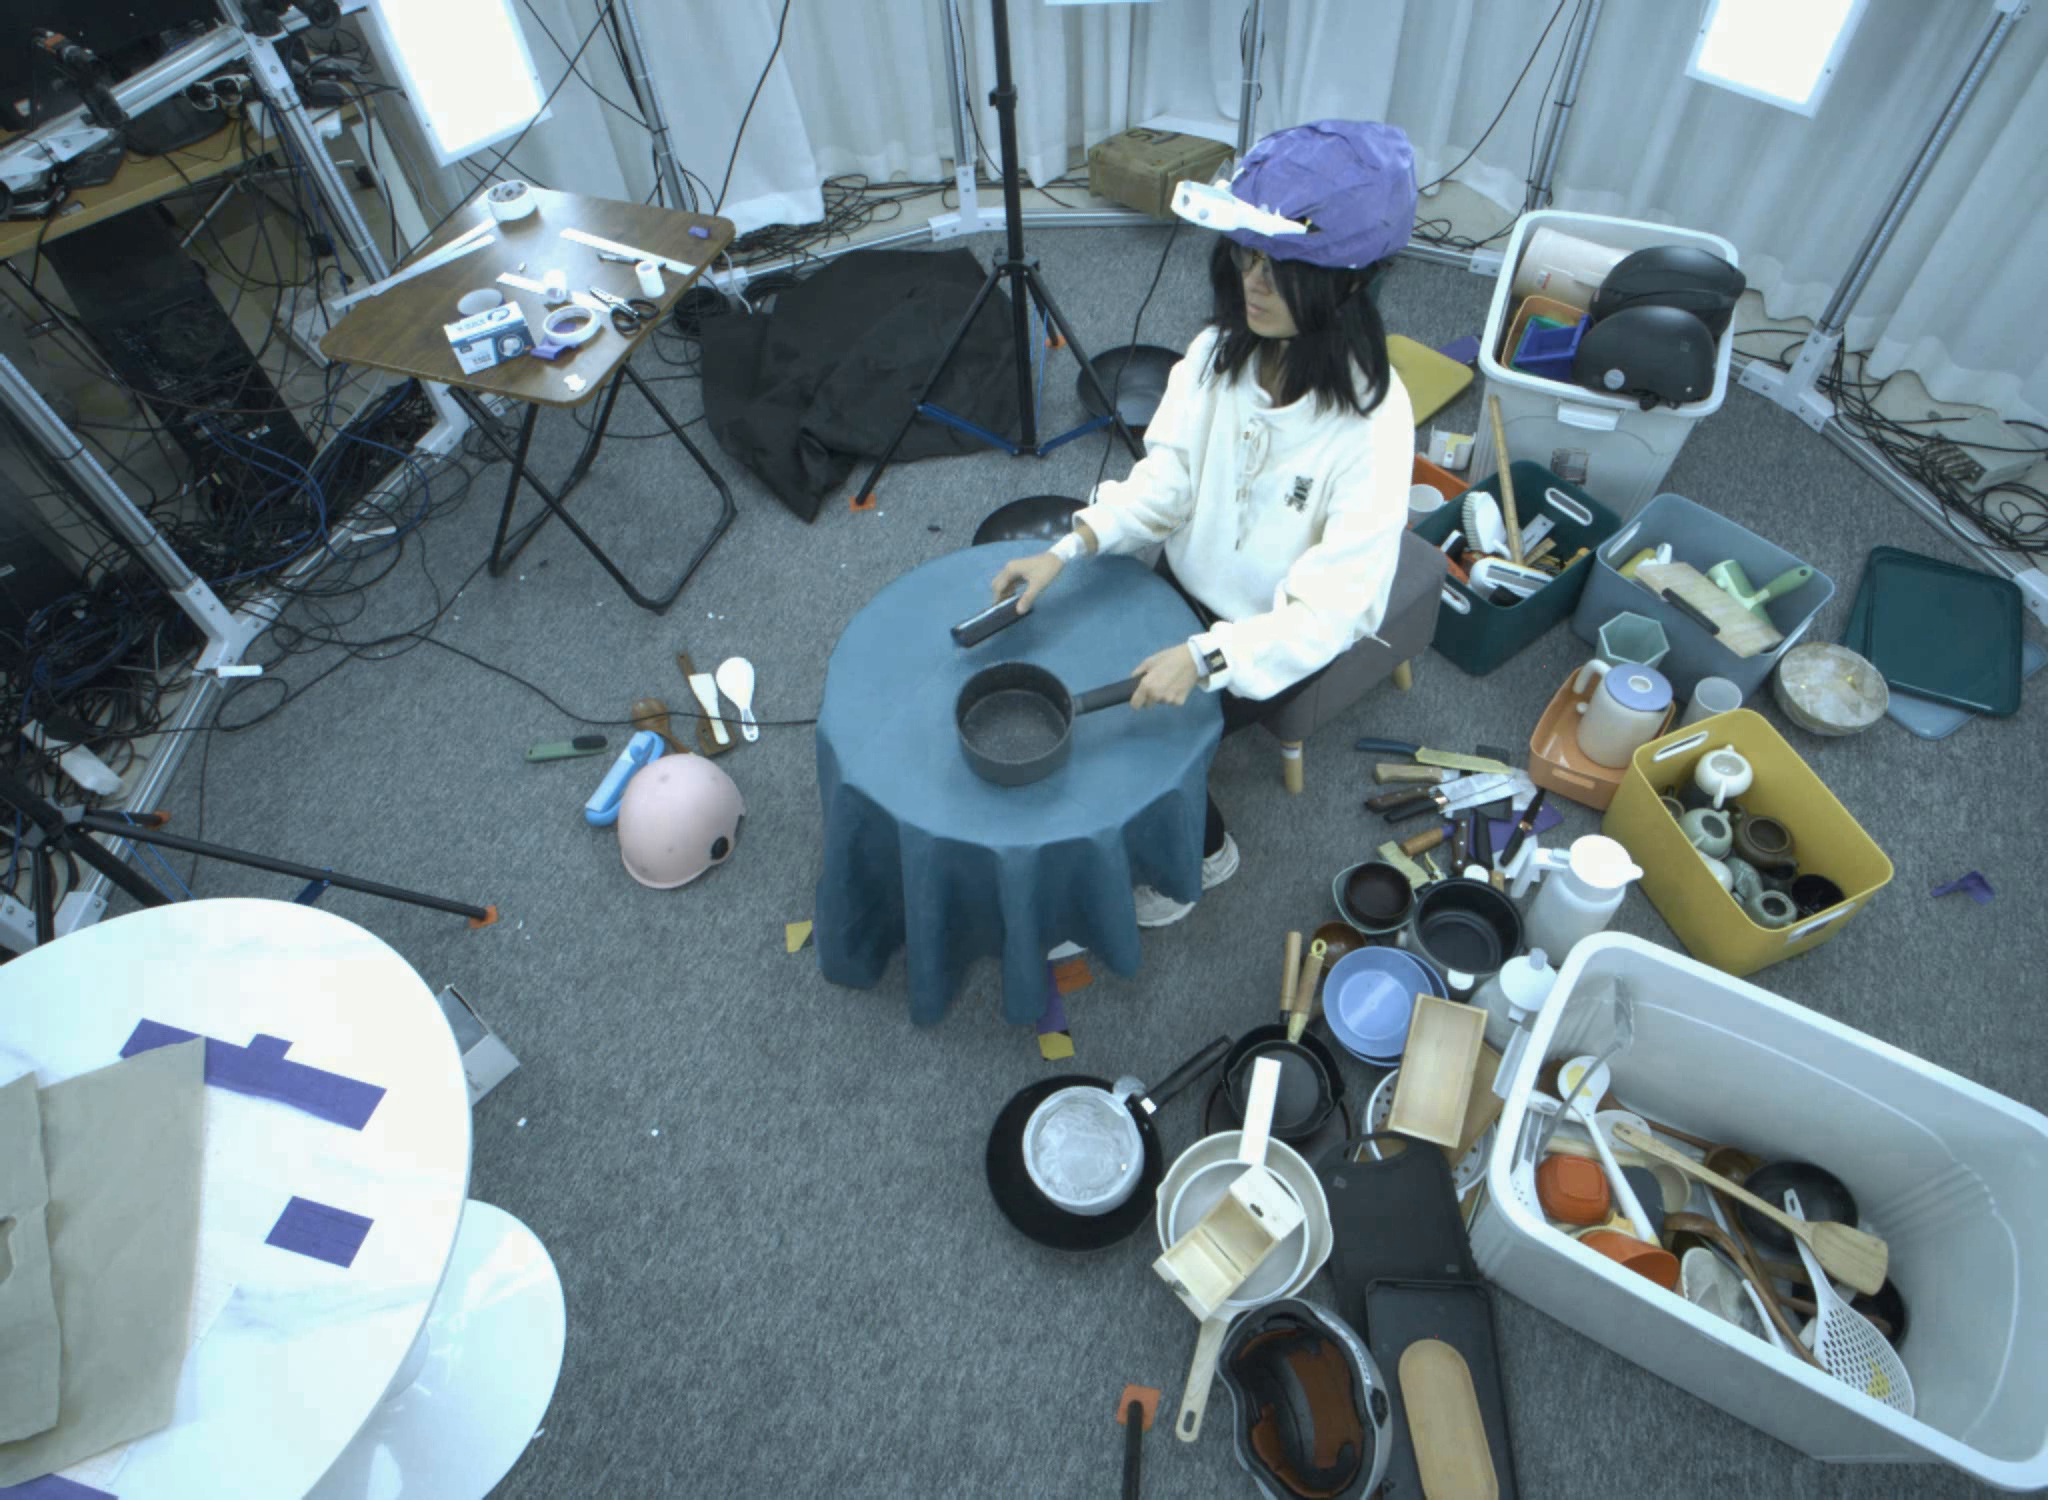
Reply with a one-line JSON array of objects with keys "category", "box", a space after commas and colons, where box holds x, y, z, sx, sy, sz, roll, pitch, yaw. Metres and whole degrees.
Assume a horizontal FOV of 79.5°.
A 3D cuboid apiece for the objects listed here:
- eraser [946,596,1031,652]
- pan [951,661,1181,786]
[{"category": "eraser", "box": [-0.054, -0.192, 1.869, 0.126, 0.031, 0.052, -30, 26, -18]}, {"category": "pan", "box": [0.062, -0.052, 1.766, 0.330, 0.087, 0.170, -10, 61, -6]}]
